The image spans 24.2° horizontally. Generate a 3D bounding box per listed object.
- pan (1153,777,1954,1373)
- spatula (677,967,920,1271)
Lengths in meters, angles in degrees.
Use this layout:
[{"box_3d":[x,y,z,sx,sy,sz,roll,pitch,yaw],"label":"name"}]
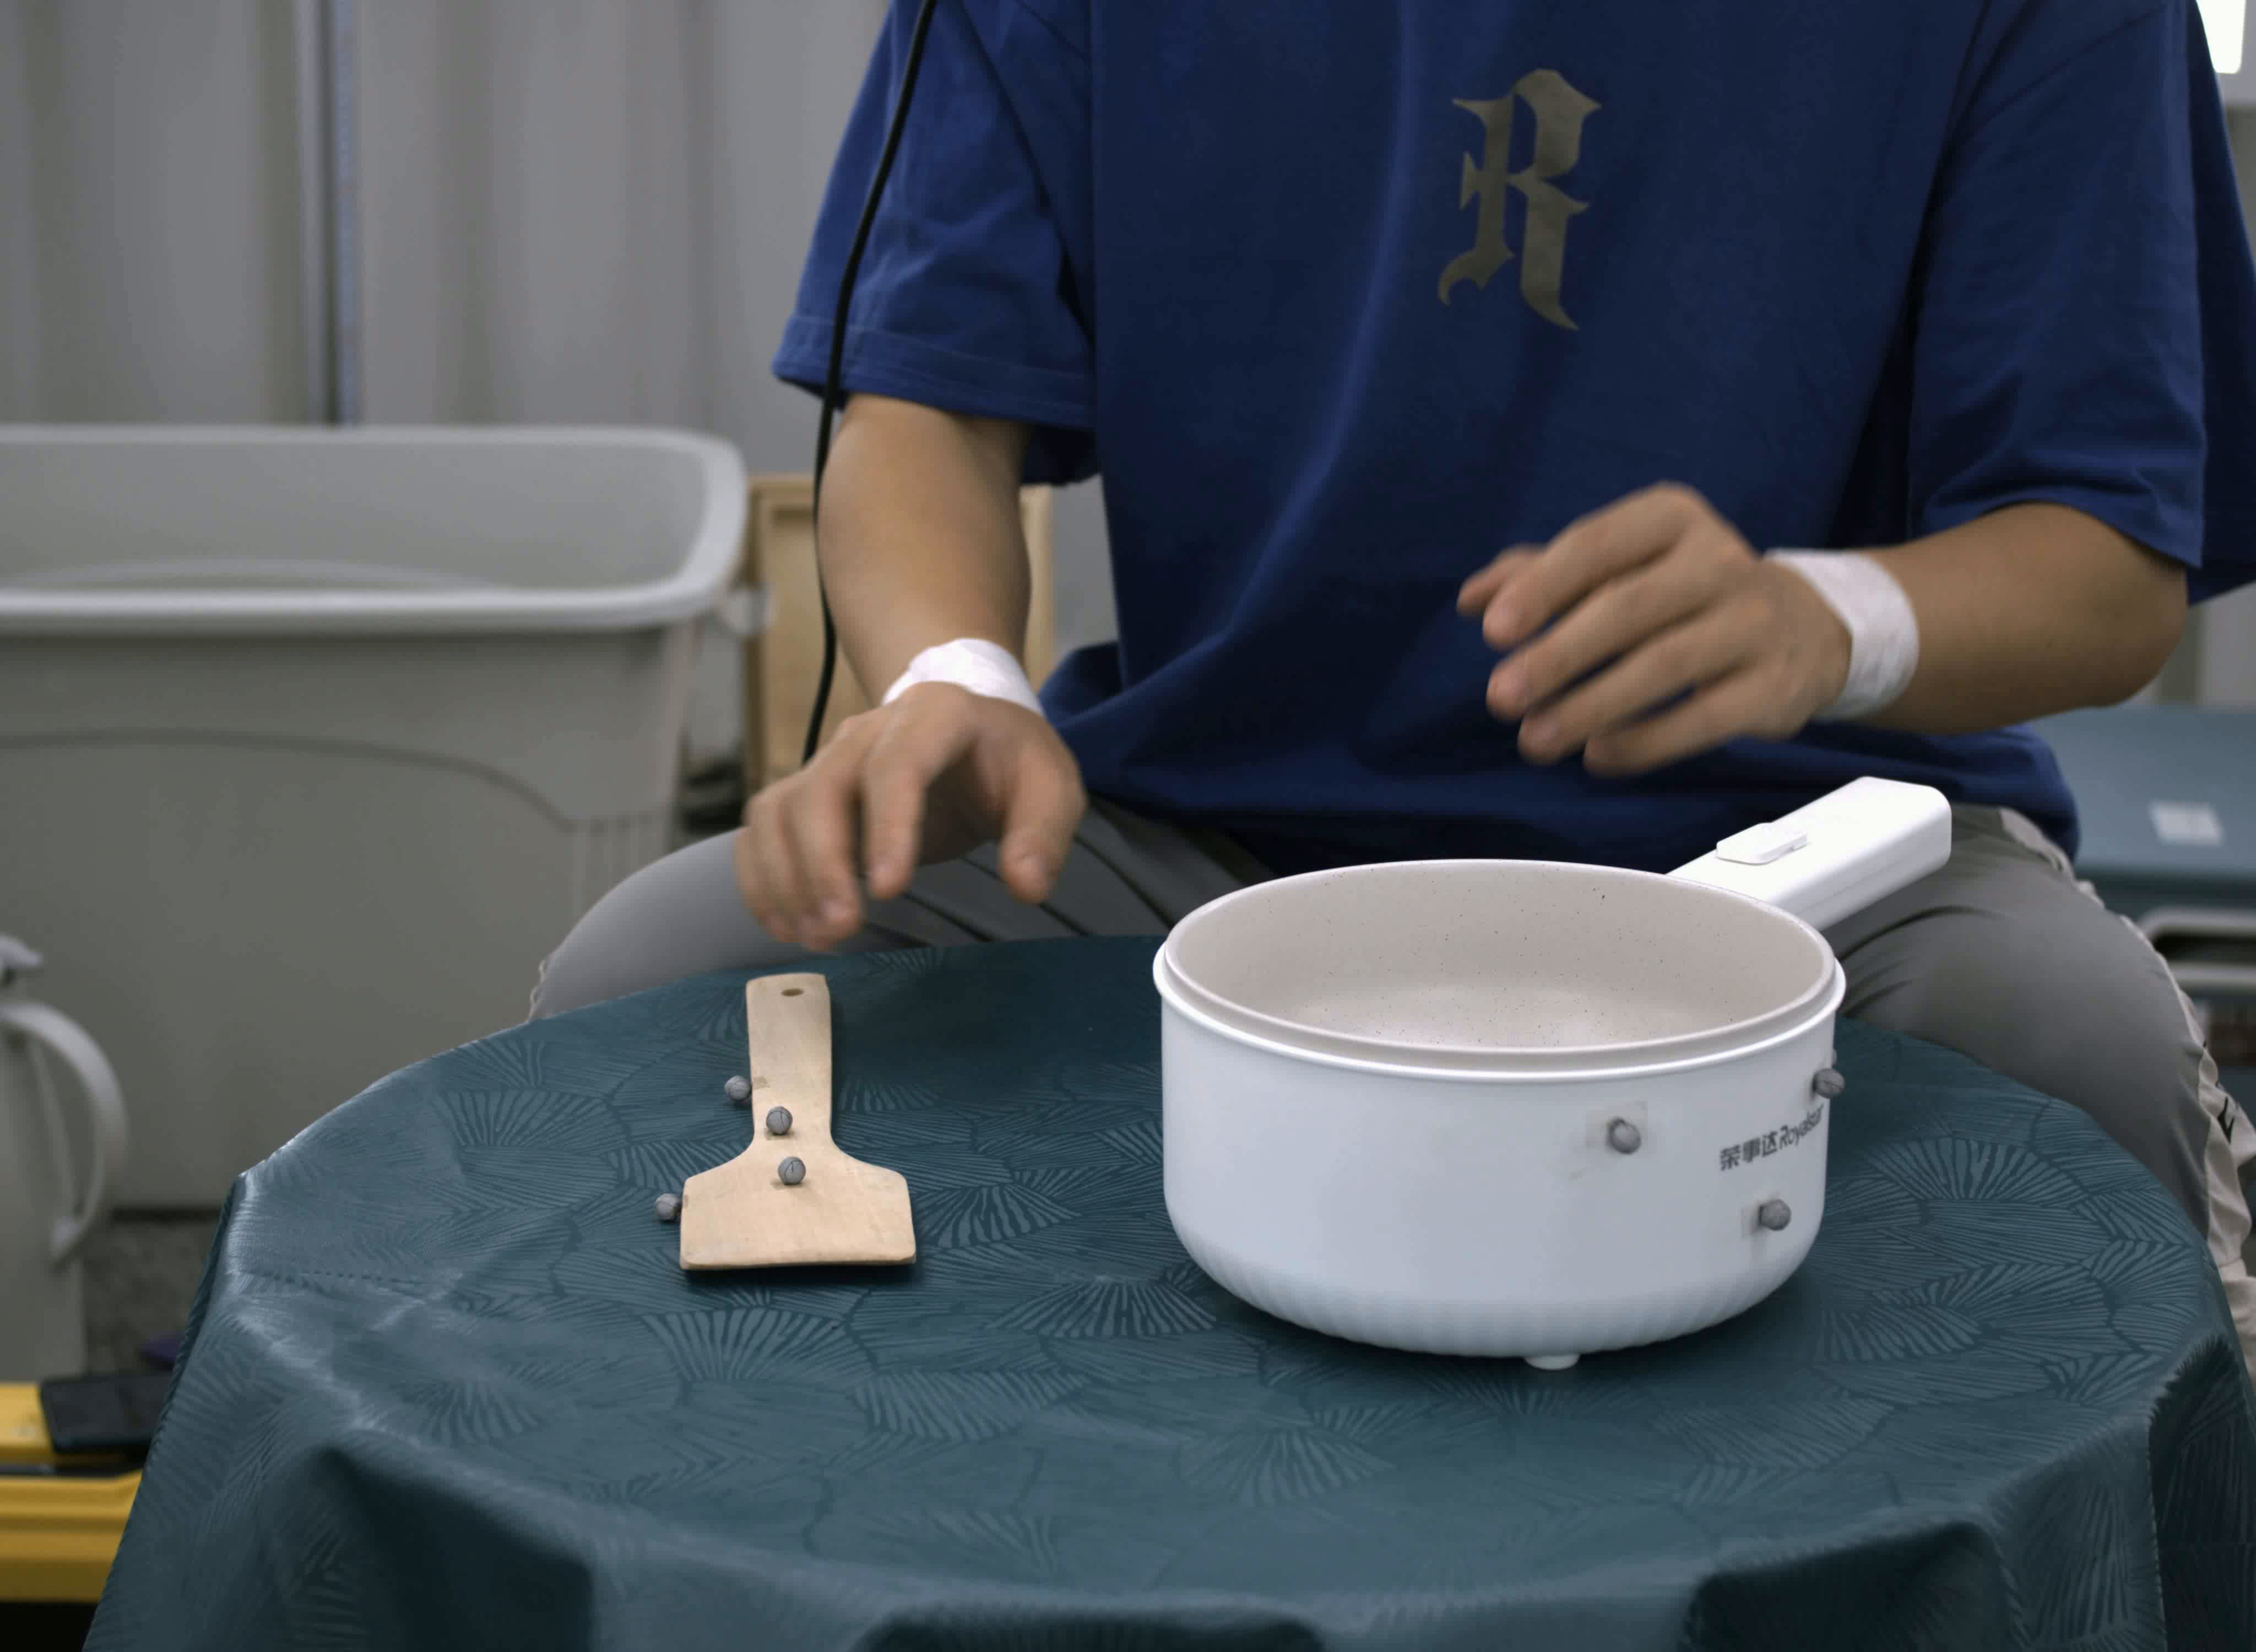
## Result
[{"box_3d":[0.152,0.069,1.602,0.199,0.103,0.356,9,18,33],"label":"pan"},{"box_3d":[-0.106,0.091,1.678,0.072,0.011,0.291,-2,16,-4],"label":"spatula"}]
